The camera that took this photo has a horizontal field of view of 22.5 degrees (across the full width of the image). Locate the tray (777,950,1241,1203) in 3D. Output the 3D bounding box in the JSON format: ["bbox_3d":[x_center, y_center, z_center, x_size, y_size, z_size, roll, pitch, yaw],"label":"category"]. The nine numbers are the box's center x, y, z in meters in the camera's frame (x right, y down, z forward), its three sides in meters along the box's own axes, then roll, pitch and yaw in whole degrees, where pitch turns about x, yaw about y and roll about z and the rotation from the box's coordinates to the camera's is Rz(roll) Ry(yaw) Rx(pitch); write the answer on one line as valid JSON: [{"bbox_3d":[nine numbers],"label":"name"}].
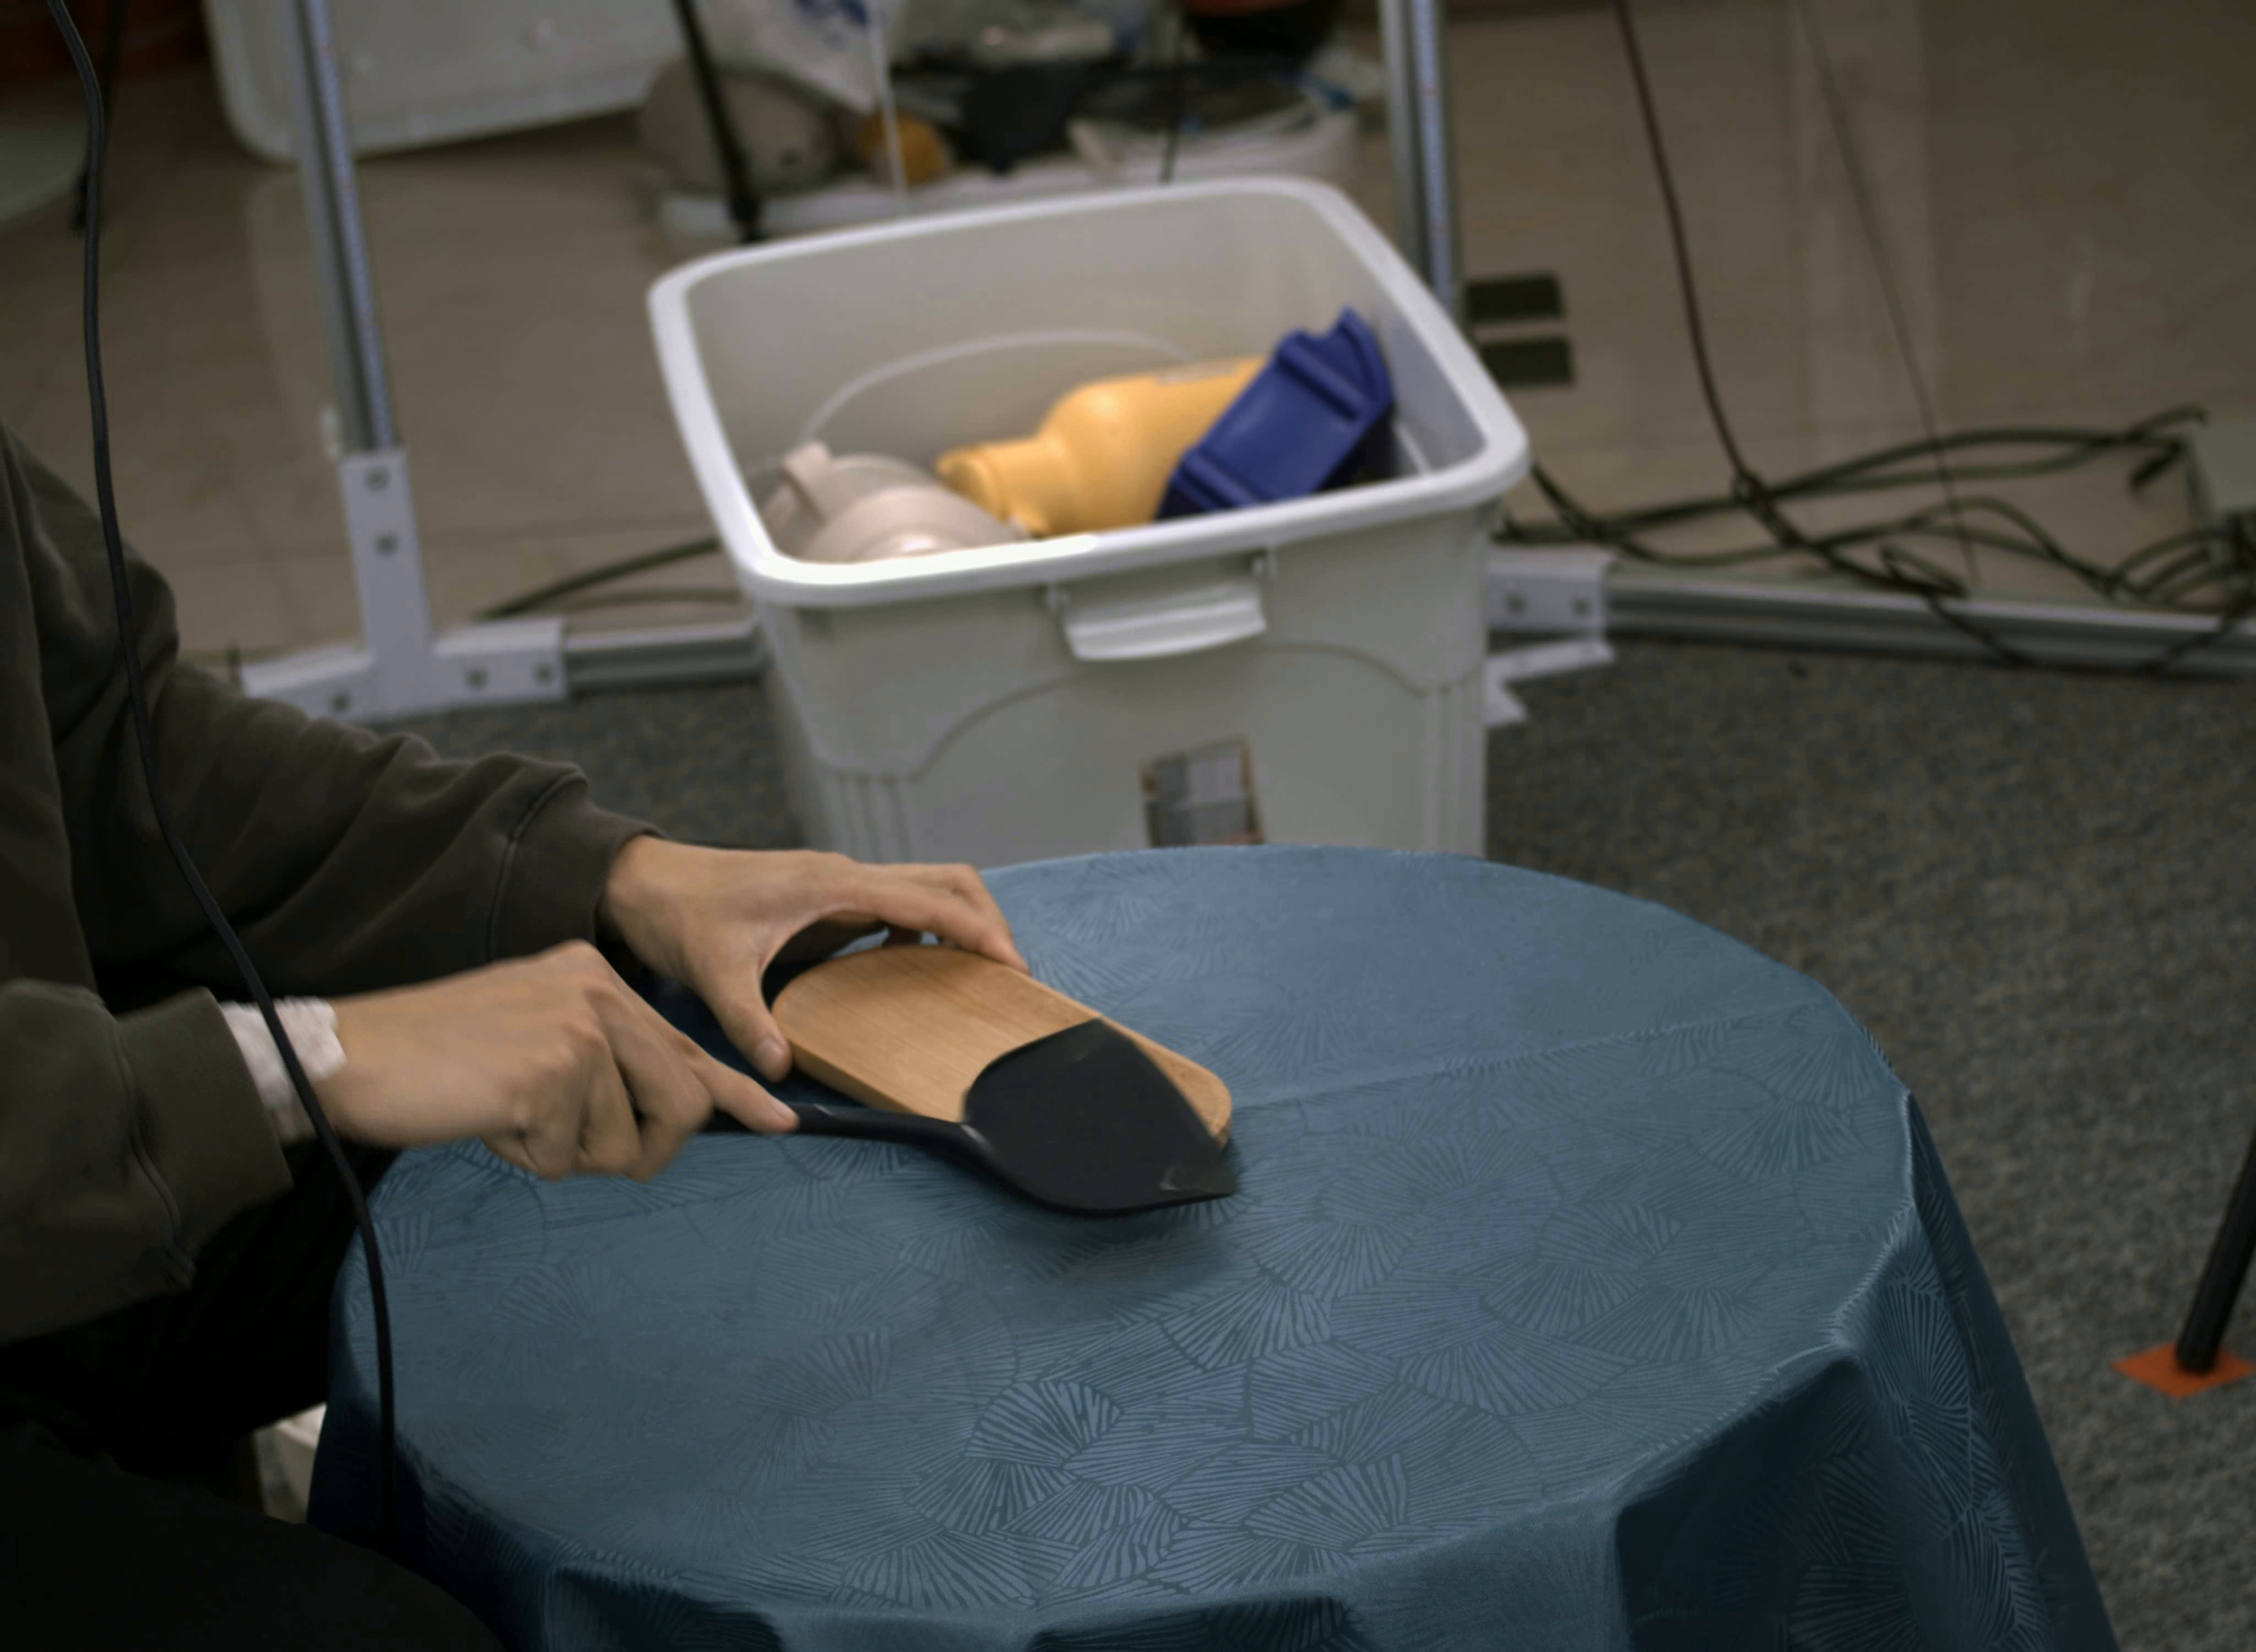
[{"bbox_3d":[-0.048,0.097,2.222,0.101,0.020,0.229,-24,33,-33],"label":"tray"}]

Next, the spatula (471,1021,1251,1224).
[{"bbox_3d":[-0.097,0.104,2.009,0.327,0.041,0.098,8,33,-44],"label":"spatula"}]
